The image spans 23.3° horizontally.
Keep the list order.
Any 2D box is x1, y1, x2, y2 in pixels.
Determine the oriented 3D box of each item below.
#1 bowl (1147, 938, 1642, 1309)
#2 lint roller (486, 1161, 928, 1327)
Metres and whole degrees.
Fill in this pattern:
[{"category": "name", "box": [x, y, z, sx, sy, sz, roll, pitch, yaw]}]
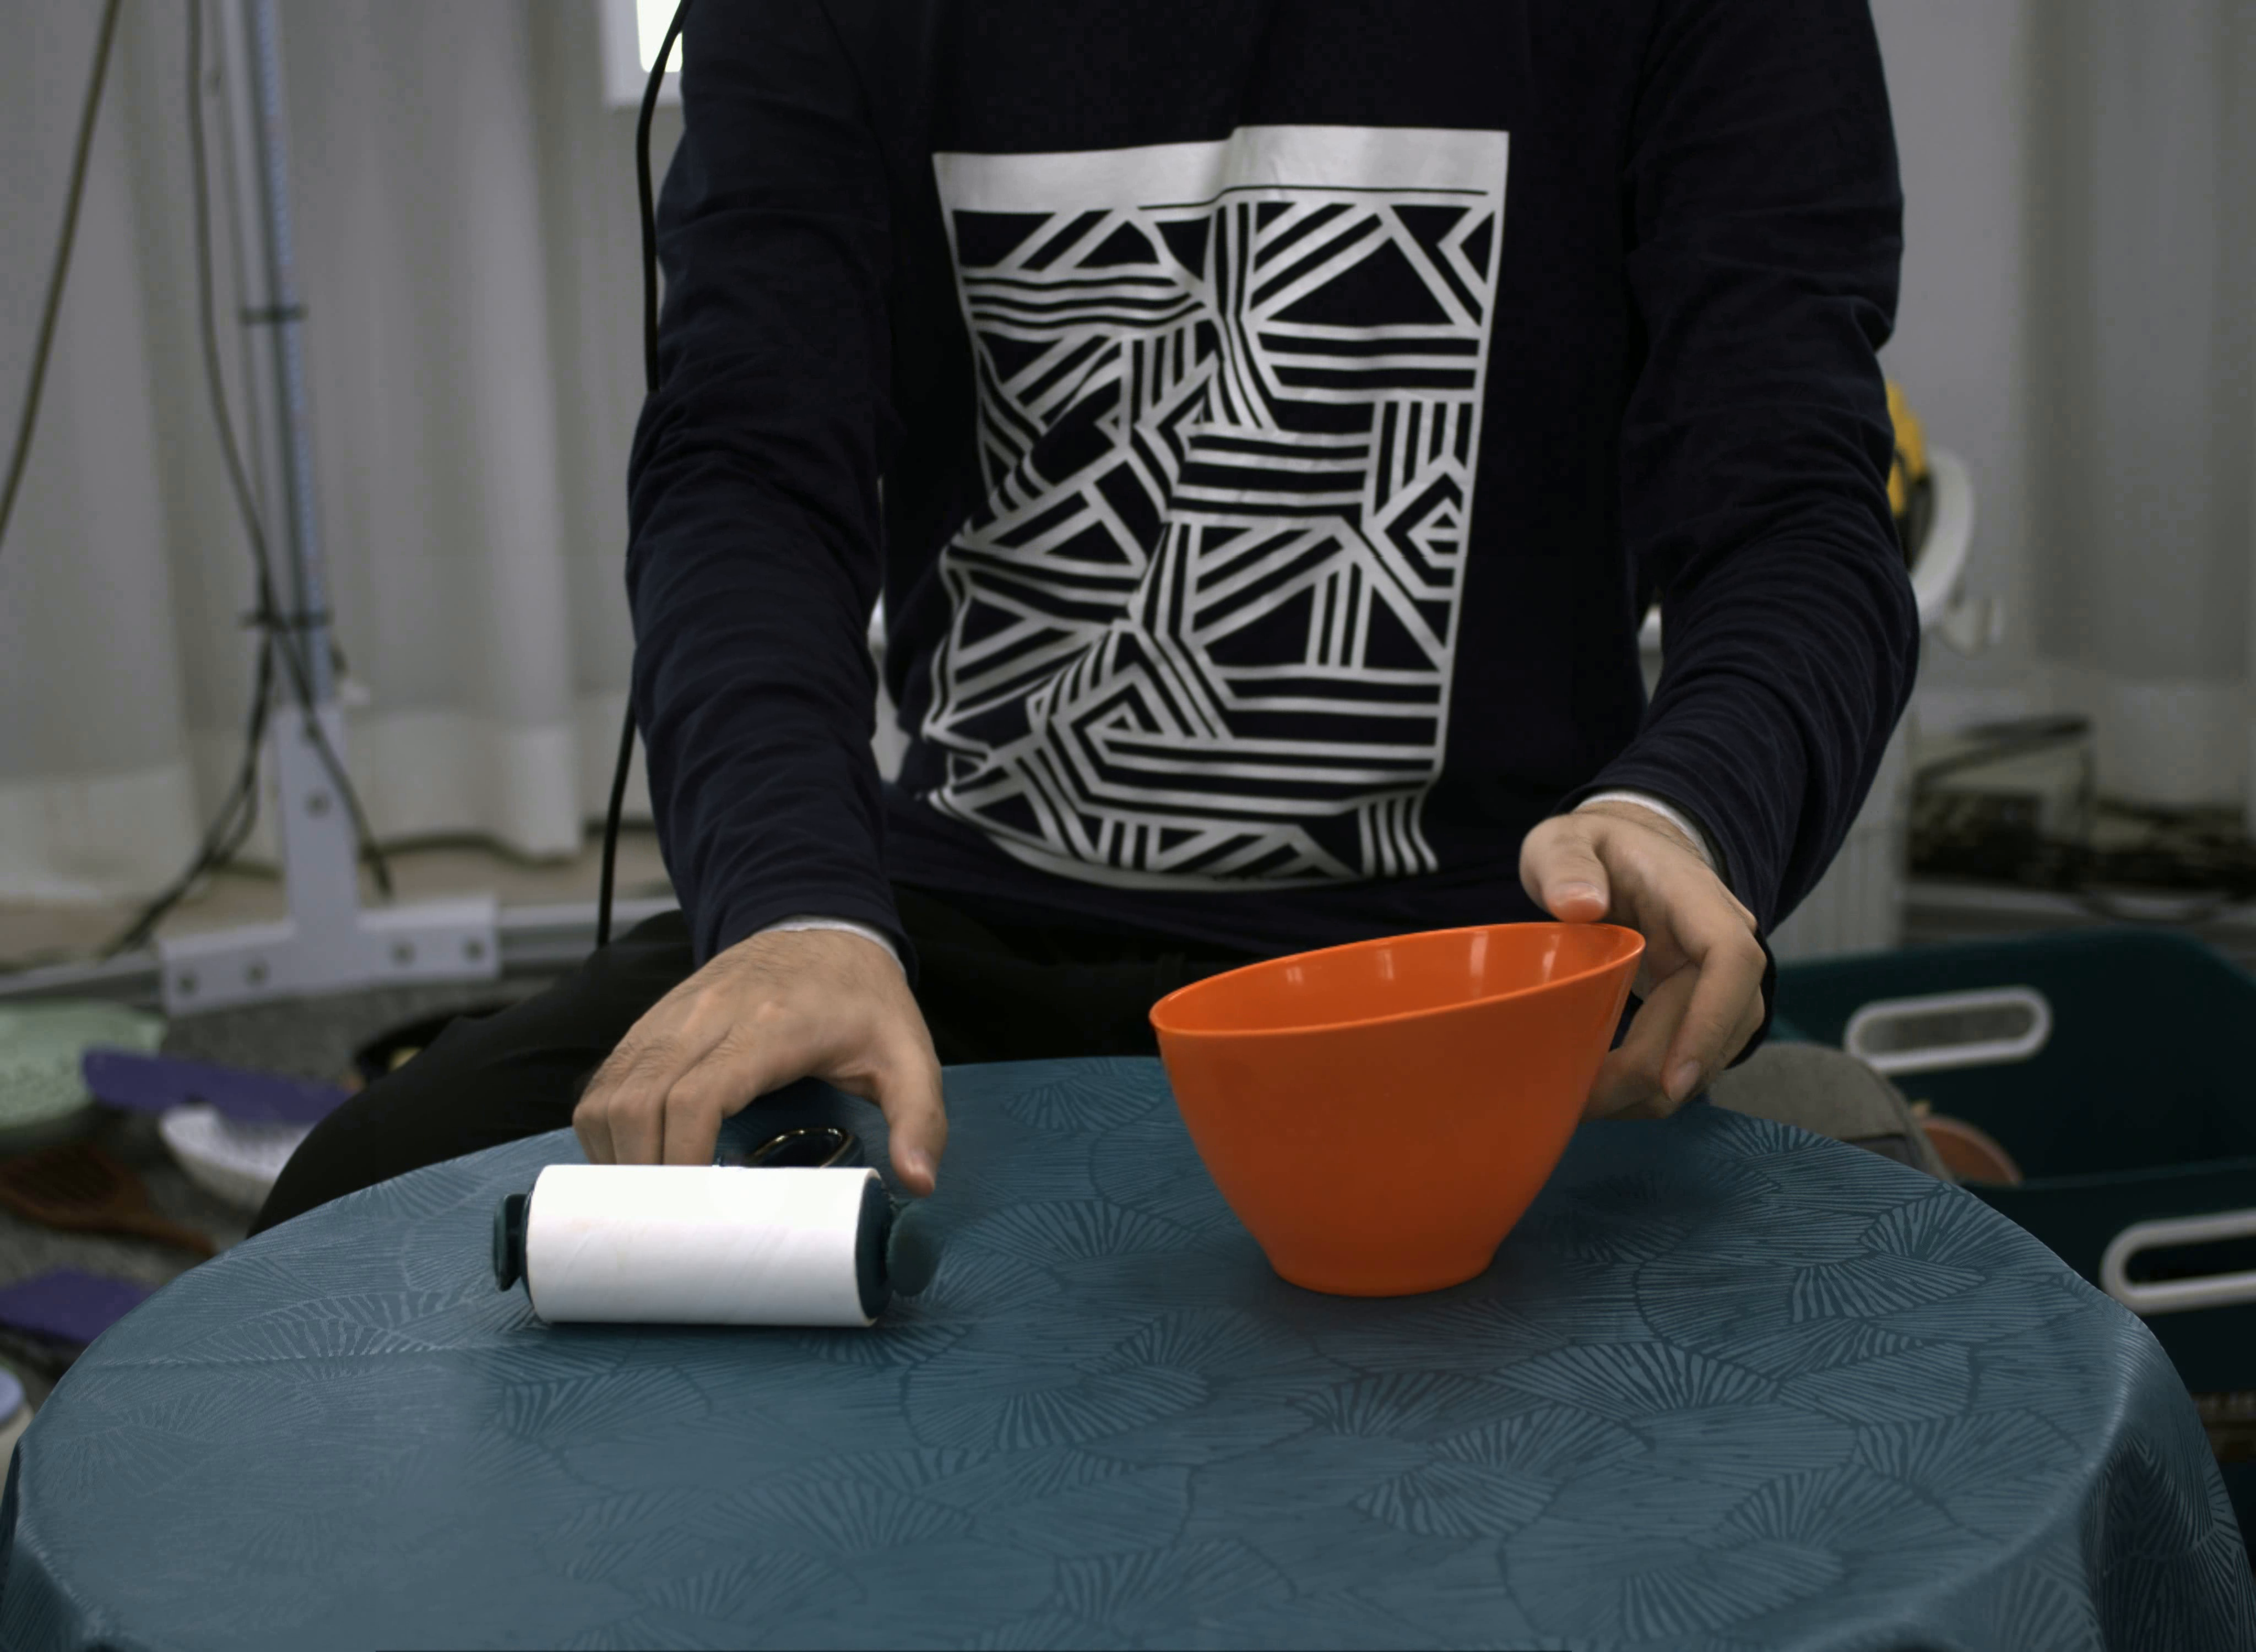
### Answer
[{"category": "bowl", "box": [0.080, 0.086, 1.621, 0.147, 0.104, 0.149, -3, 12, 0]}, {"category": "lint roller", "box": [-0.114, 0.110, 1.680, 0.134, 0.048, 0.181, 0, 12, 9]}]
